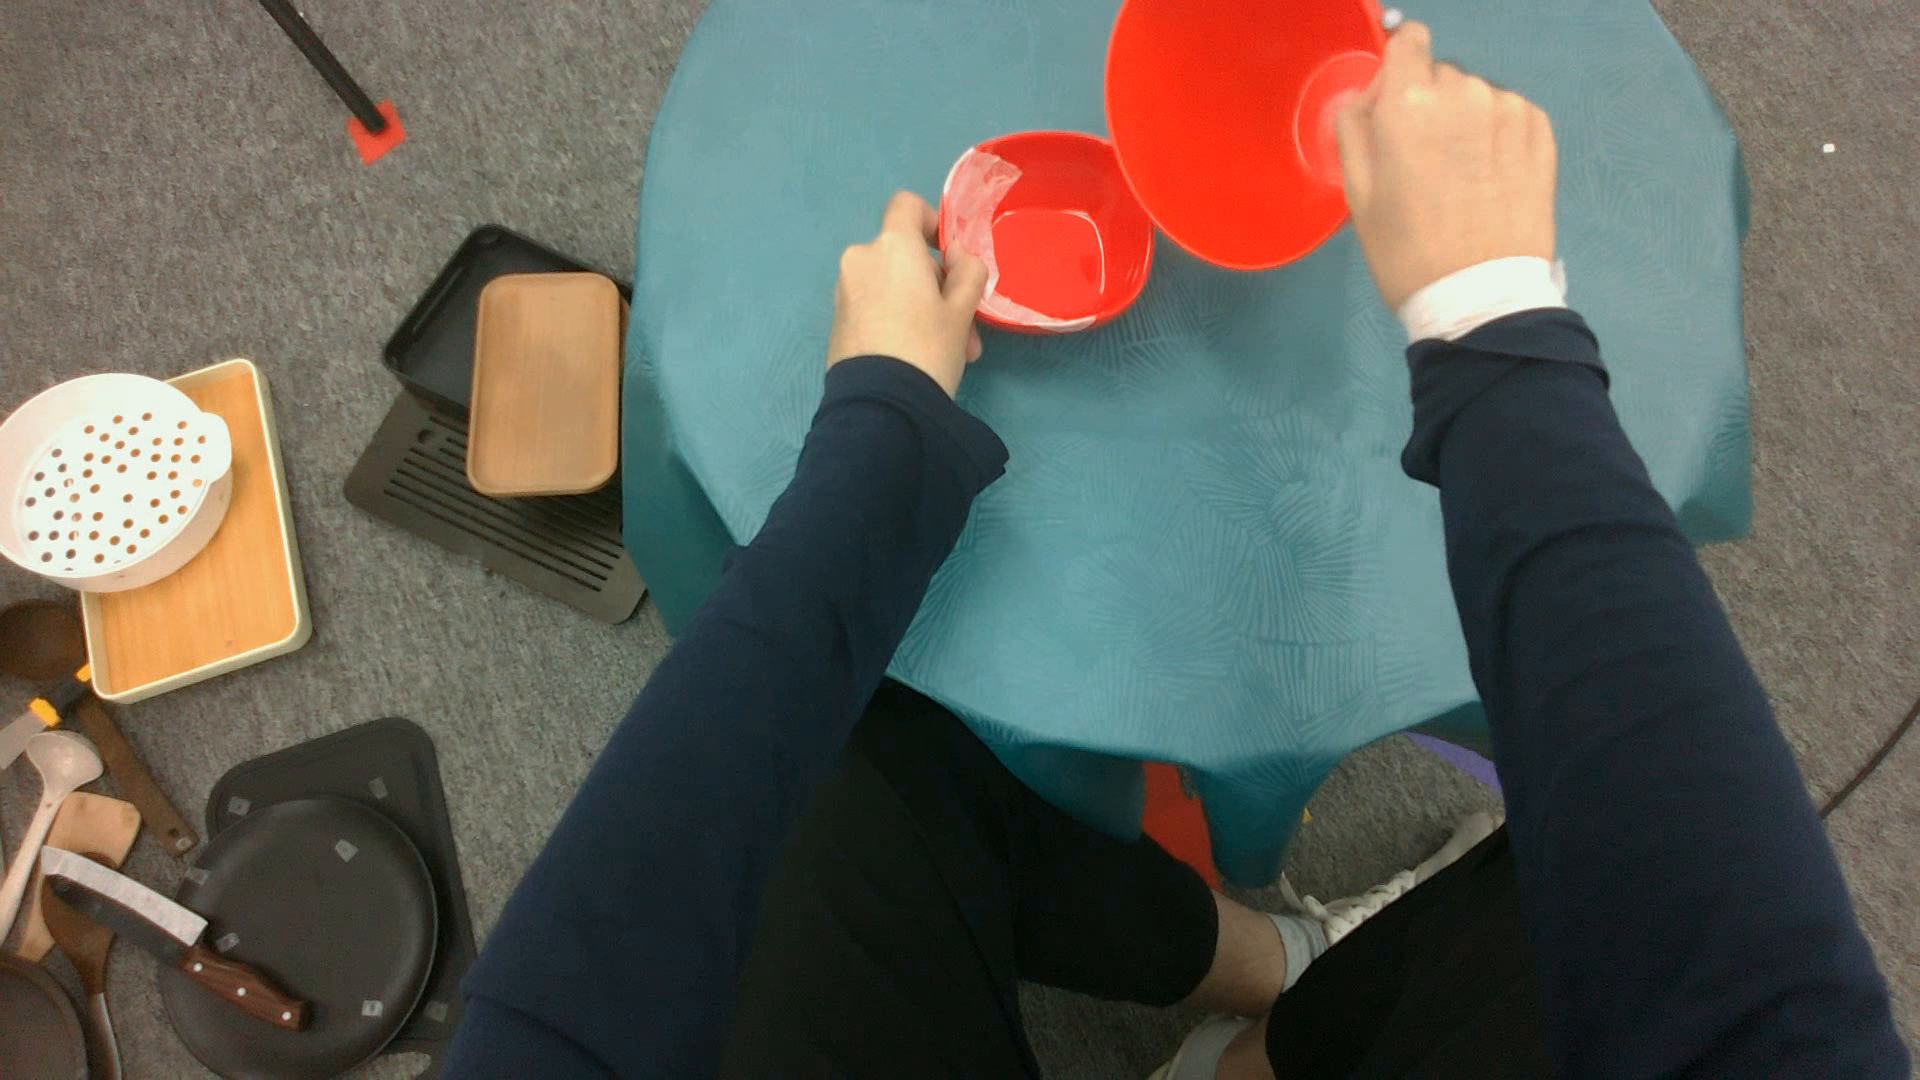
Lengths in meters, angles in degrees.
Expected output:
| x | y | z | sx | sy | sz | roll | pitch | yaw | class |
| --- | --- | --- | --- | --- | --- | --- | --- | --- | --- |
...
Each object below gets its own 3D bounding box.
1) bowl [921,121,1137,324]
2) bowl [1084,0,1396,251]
| x | y | z | sx | sy | sz | roll | pitch | yaw | class |
| --- | --- | --- | --- | --- | --- | --- | --- | --- | --- |
| 0.035 | -0.159 | 0.726 | 0.119 | 0.051 | 0.119 | 0 | 75 | 0 | bowl |
| 0.143 | -0.215 | 0.646 | 0.105 | 0.147 | 0.148 | -21 | 72 | -35 | bowl |
